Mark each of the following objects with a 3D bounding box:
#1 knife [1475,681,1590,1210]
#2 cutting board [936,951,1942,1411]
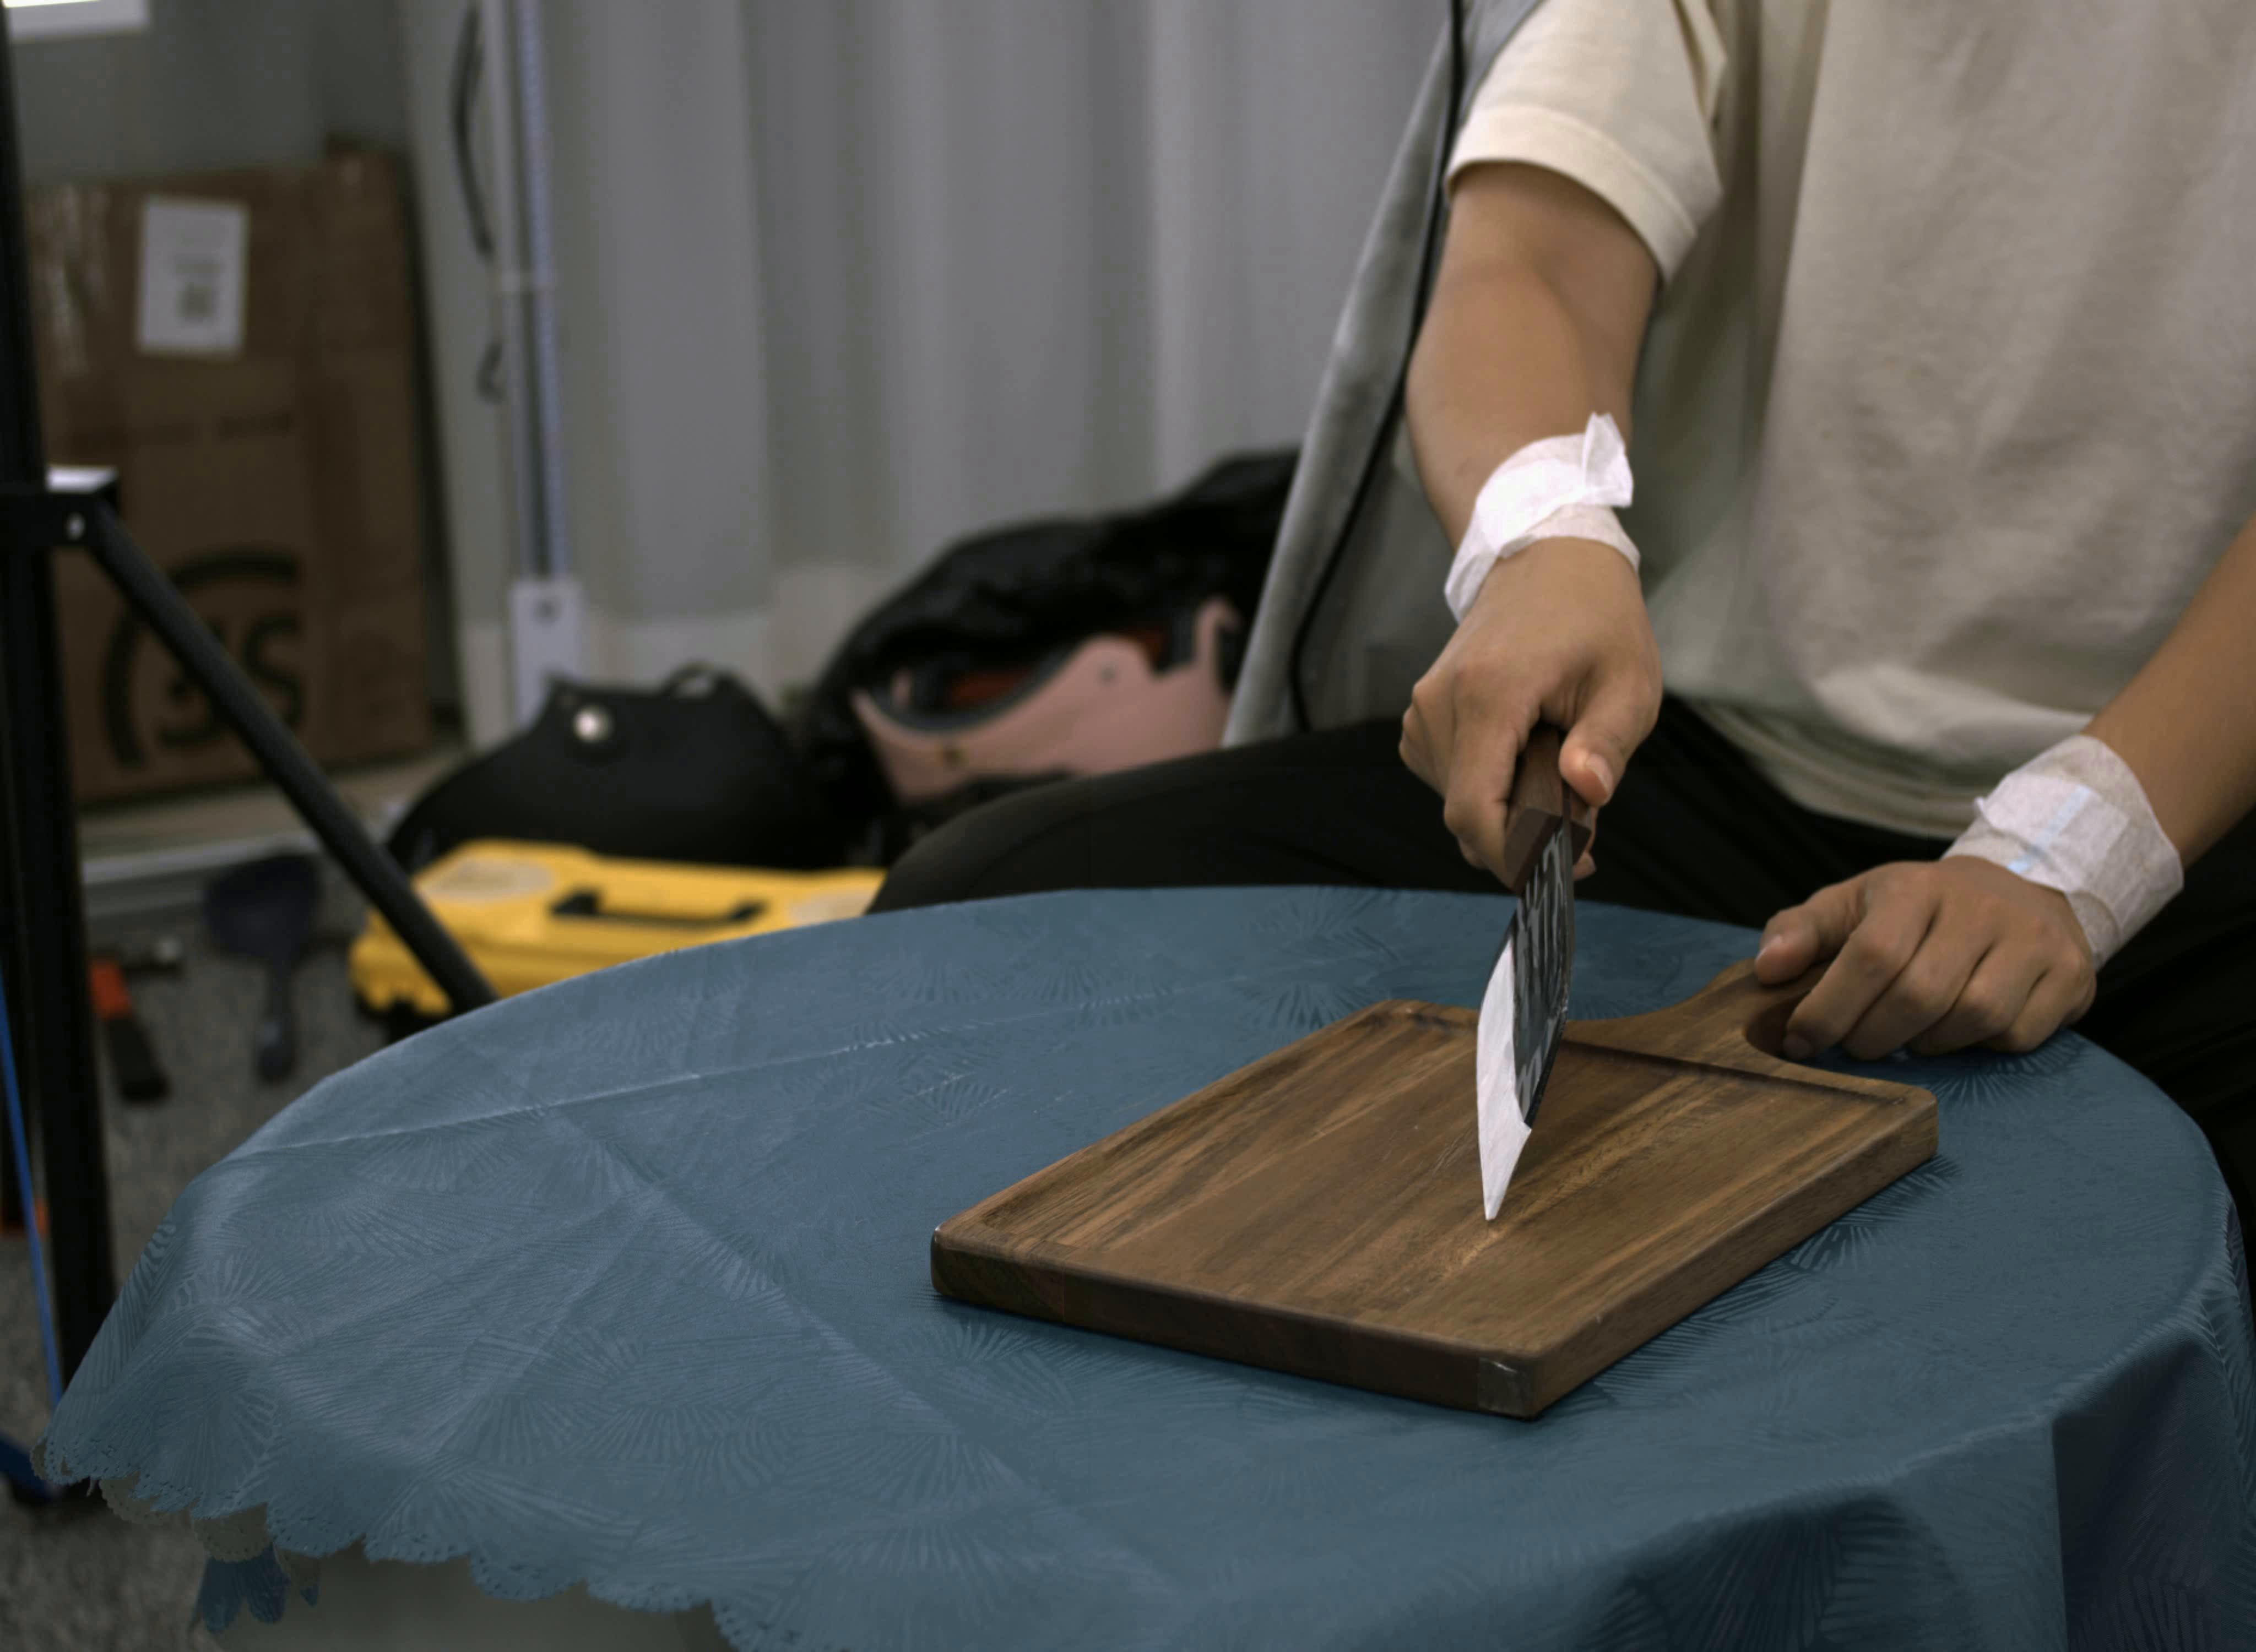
[{"bbox_3d":[0.119,0.032,1.601,0.024,0.068,0.300,22,22,-5],"label":"knife"},{"bbox_3d":[0.121,0.092,1.555,0.205,0.023,0.345,8,18,34],"label":"cutting board"}]
